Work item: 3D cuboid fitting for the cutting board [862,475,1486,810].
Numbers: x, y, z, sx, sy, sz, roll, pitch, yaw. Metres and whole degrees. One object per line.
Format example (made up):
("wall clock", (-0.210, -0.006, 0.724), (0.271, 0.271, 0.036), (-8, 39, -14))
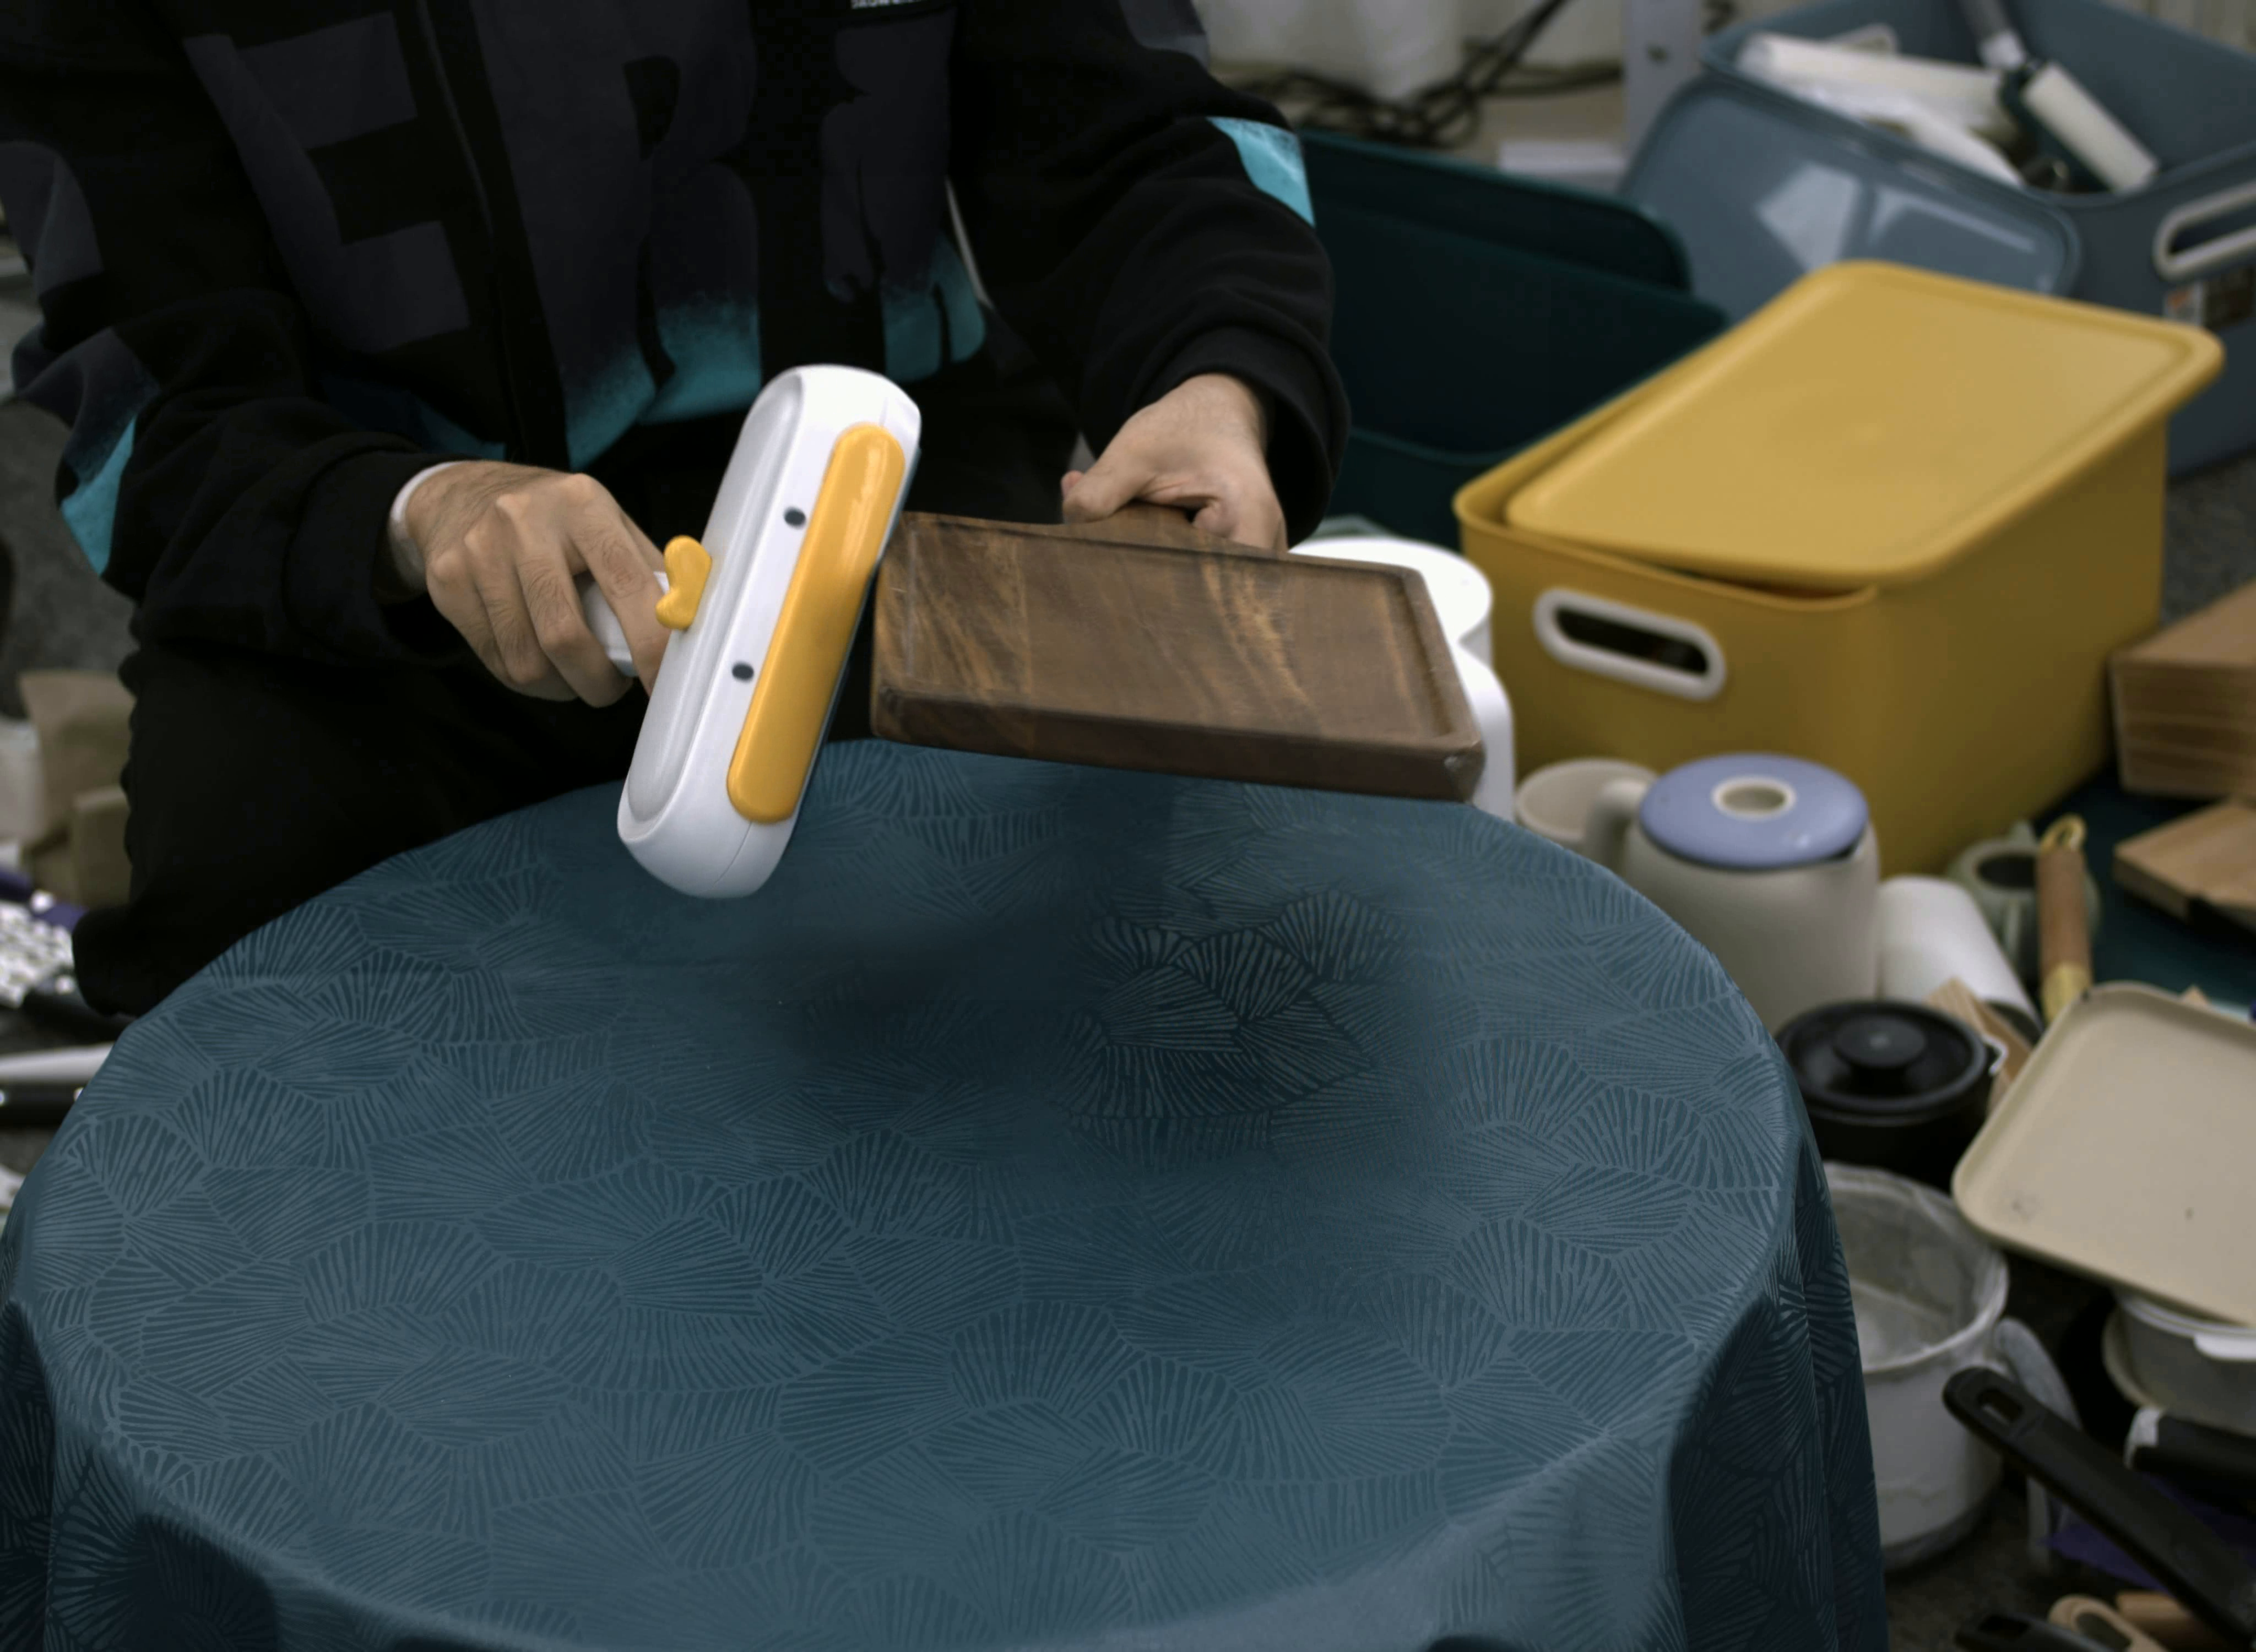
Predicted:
("cutting board", (0.008, -0.073, 1.945), (0.200, 0.023, 0.355), (7, 16, -5))

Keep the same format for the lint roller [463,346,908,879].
("lint roller", (-0.163, -0.068, 1.980), (0.074, 0.196, 0.190), (23, -23, -31))
